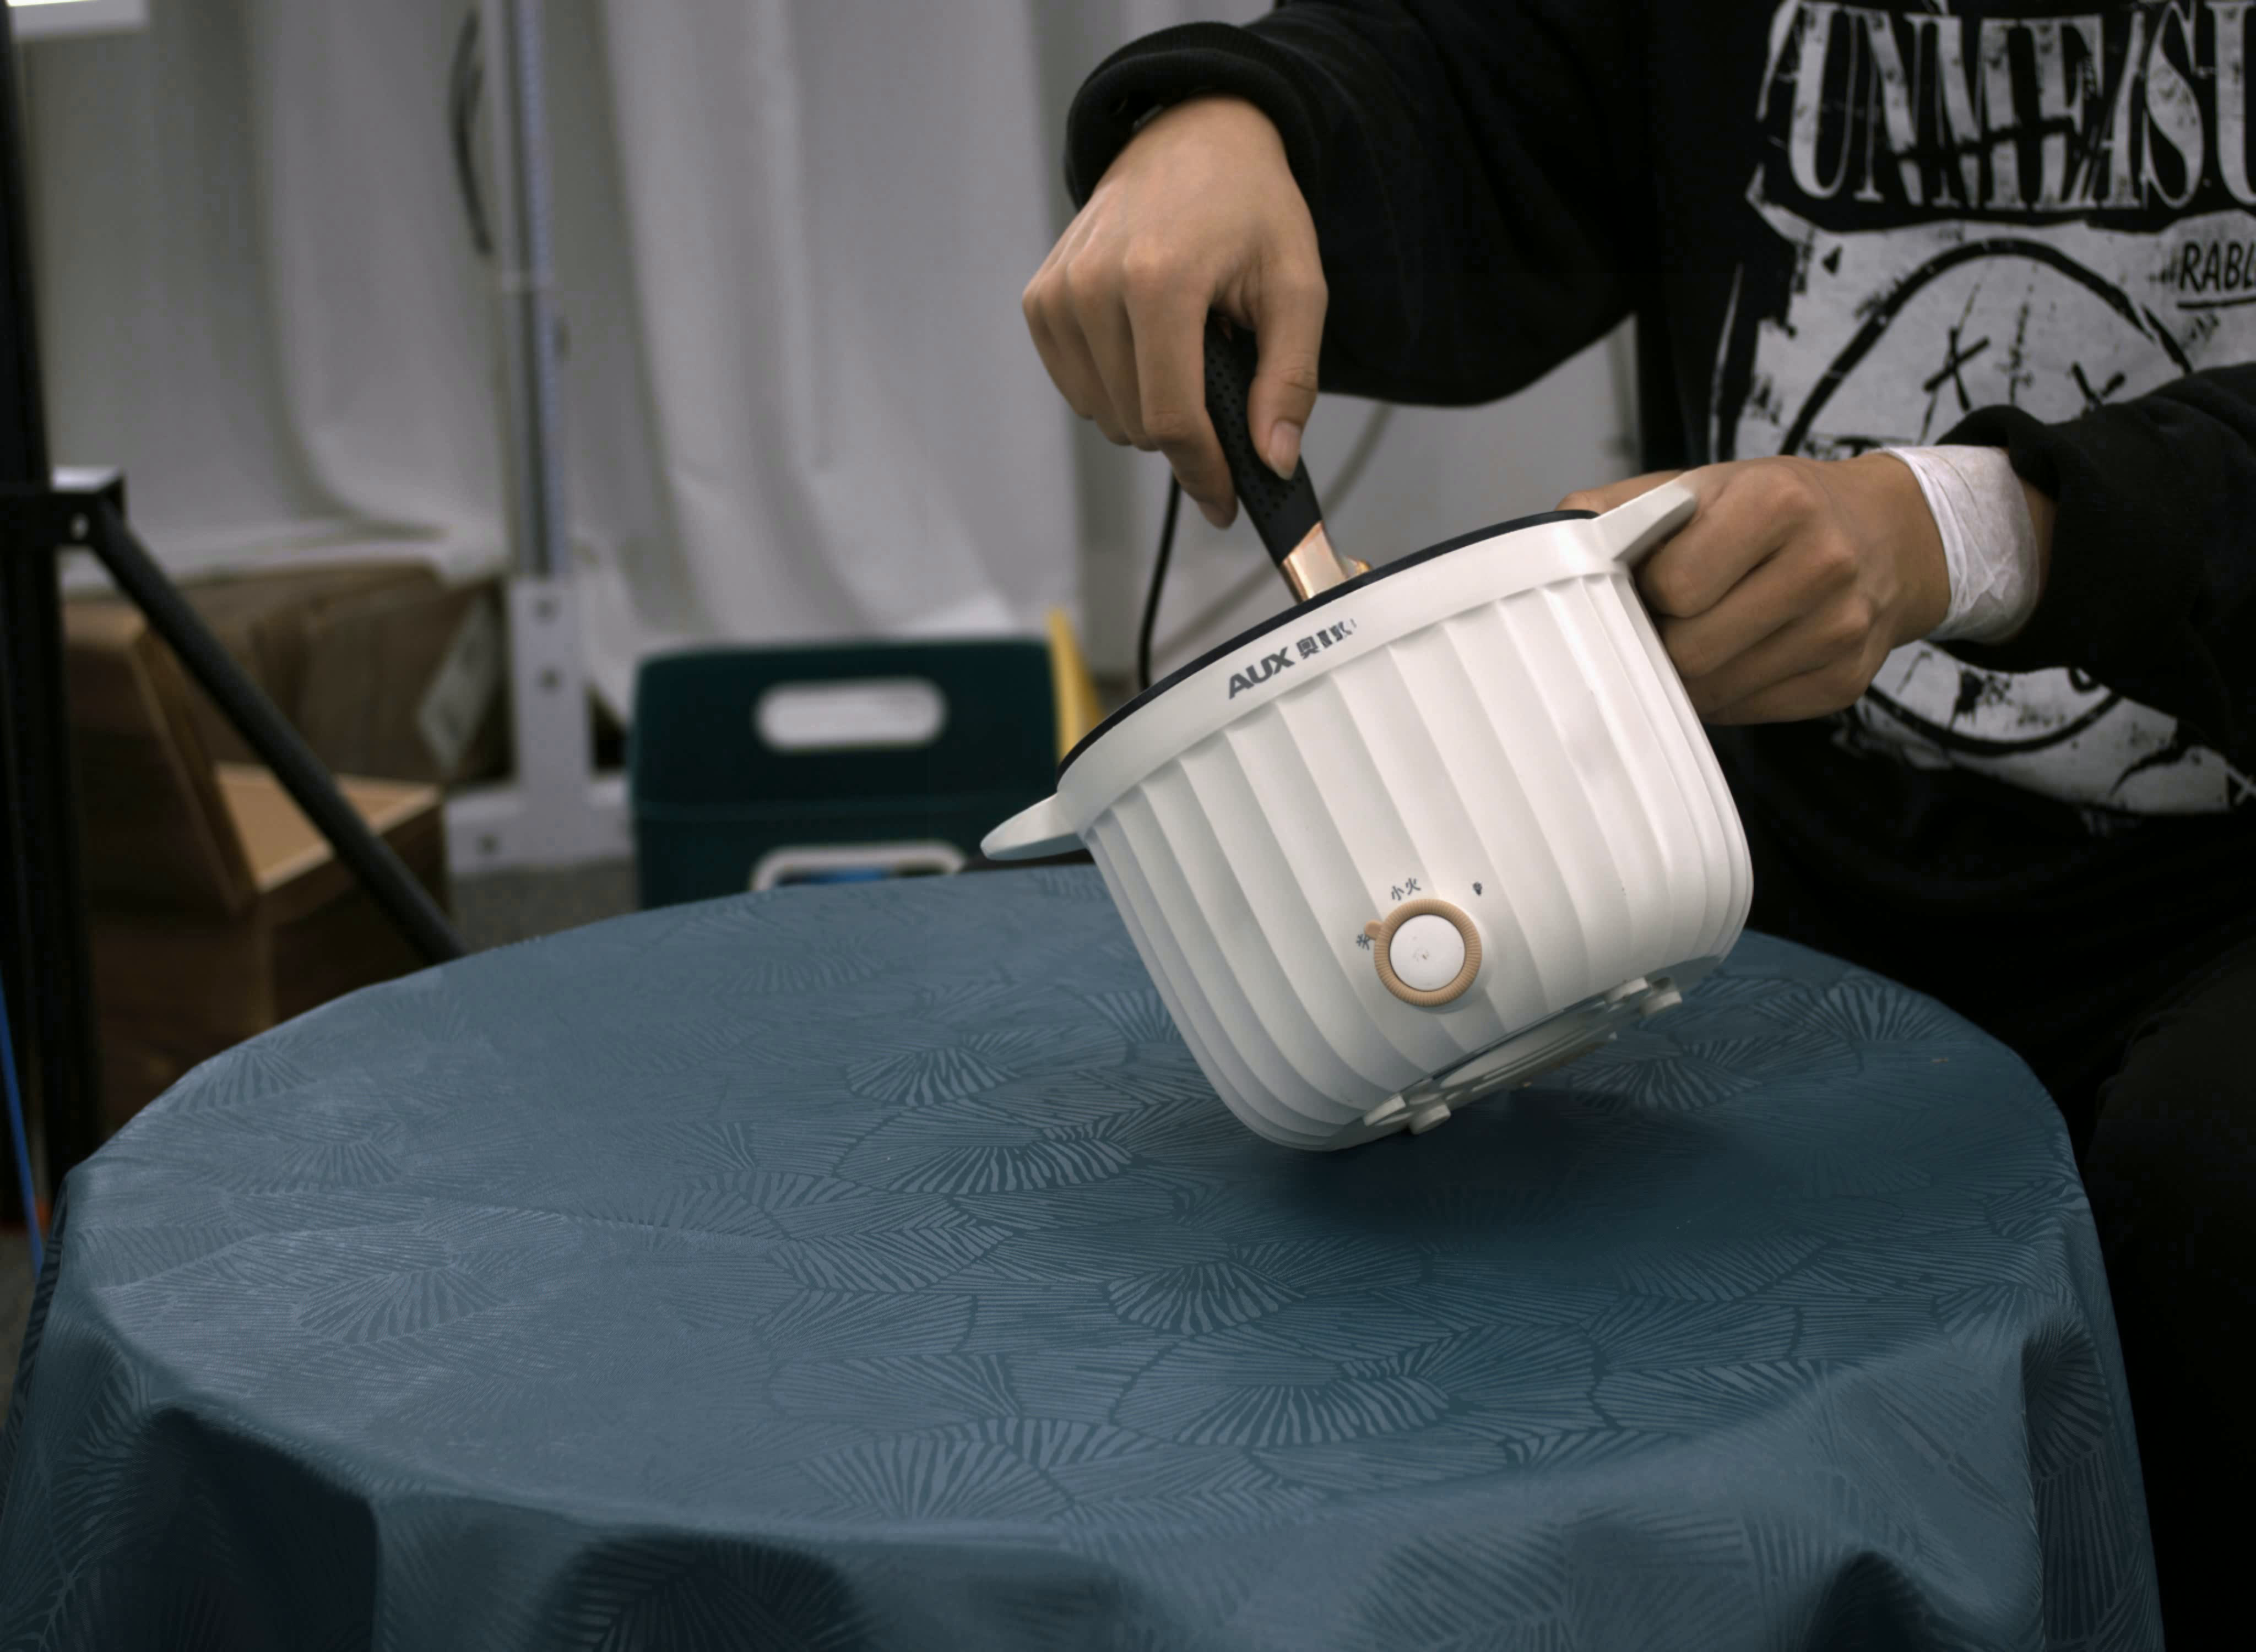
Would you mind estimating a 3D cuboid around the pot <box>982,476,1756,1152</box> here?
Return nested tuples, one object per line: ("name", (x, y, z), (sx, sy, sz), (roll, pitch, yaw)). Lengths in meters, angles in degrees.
("pot", (0.089, 0.007, 1.552), (0.241, 0.144, 0.188), (-28, -14, 9))

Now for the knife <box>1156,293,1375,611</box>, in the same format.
("knife", (0.067, -0.070, 1.651), (0.026, 0.228, 0.017), (-23, -15, -19))
